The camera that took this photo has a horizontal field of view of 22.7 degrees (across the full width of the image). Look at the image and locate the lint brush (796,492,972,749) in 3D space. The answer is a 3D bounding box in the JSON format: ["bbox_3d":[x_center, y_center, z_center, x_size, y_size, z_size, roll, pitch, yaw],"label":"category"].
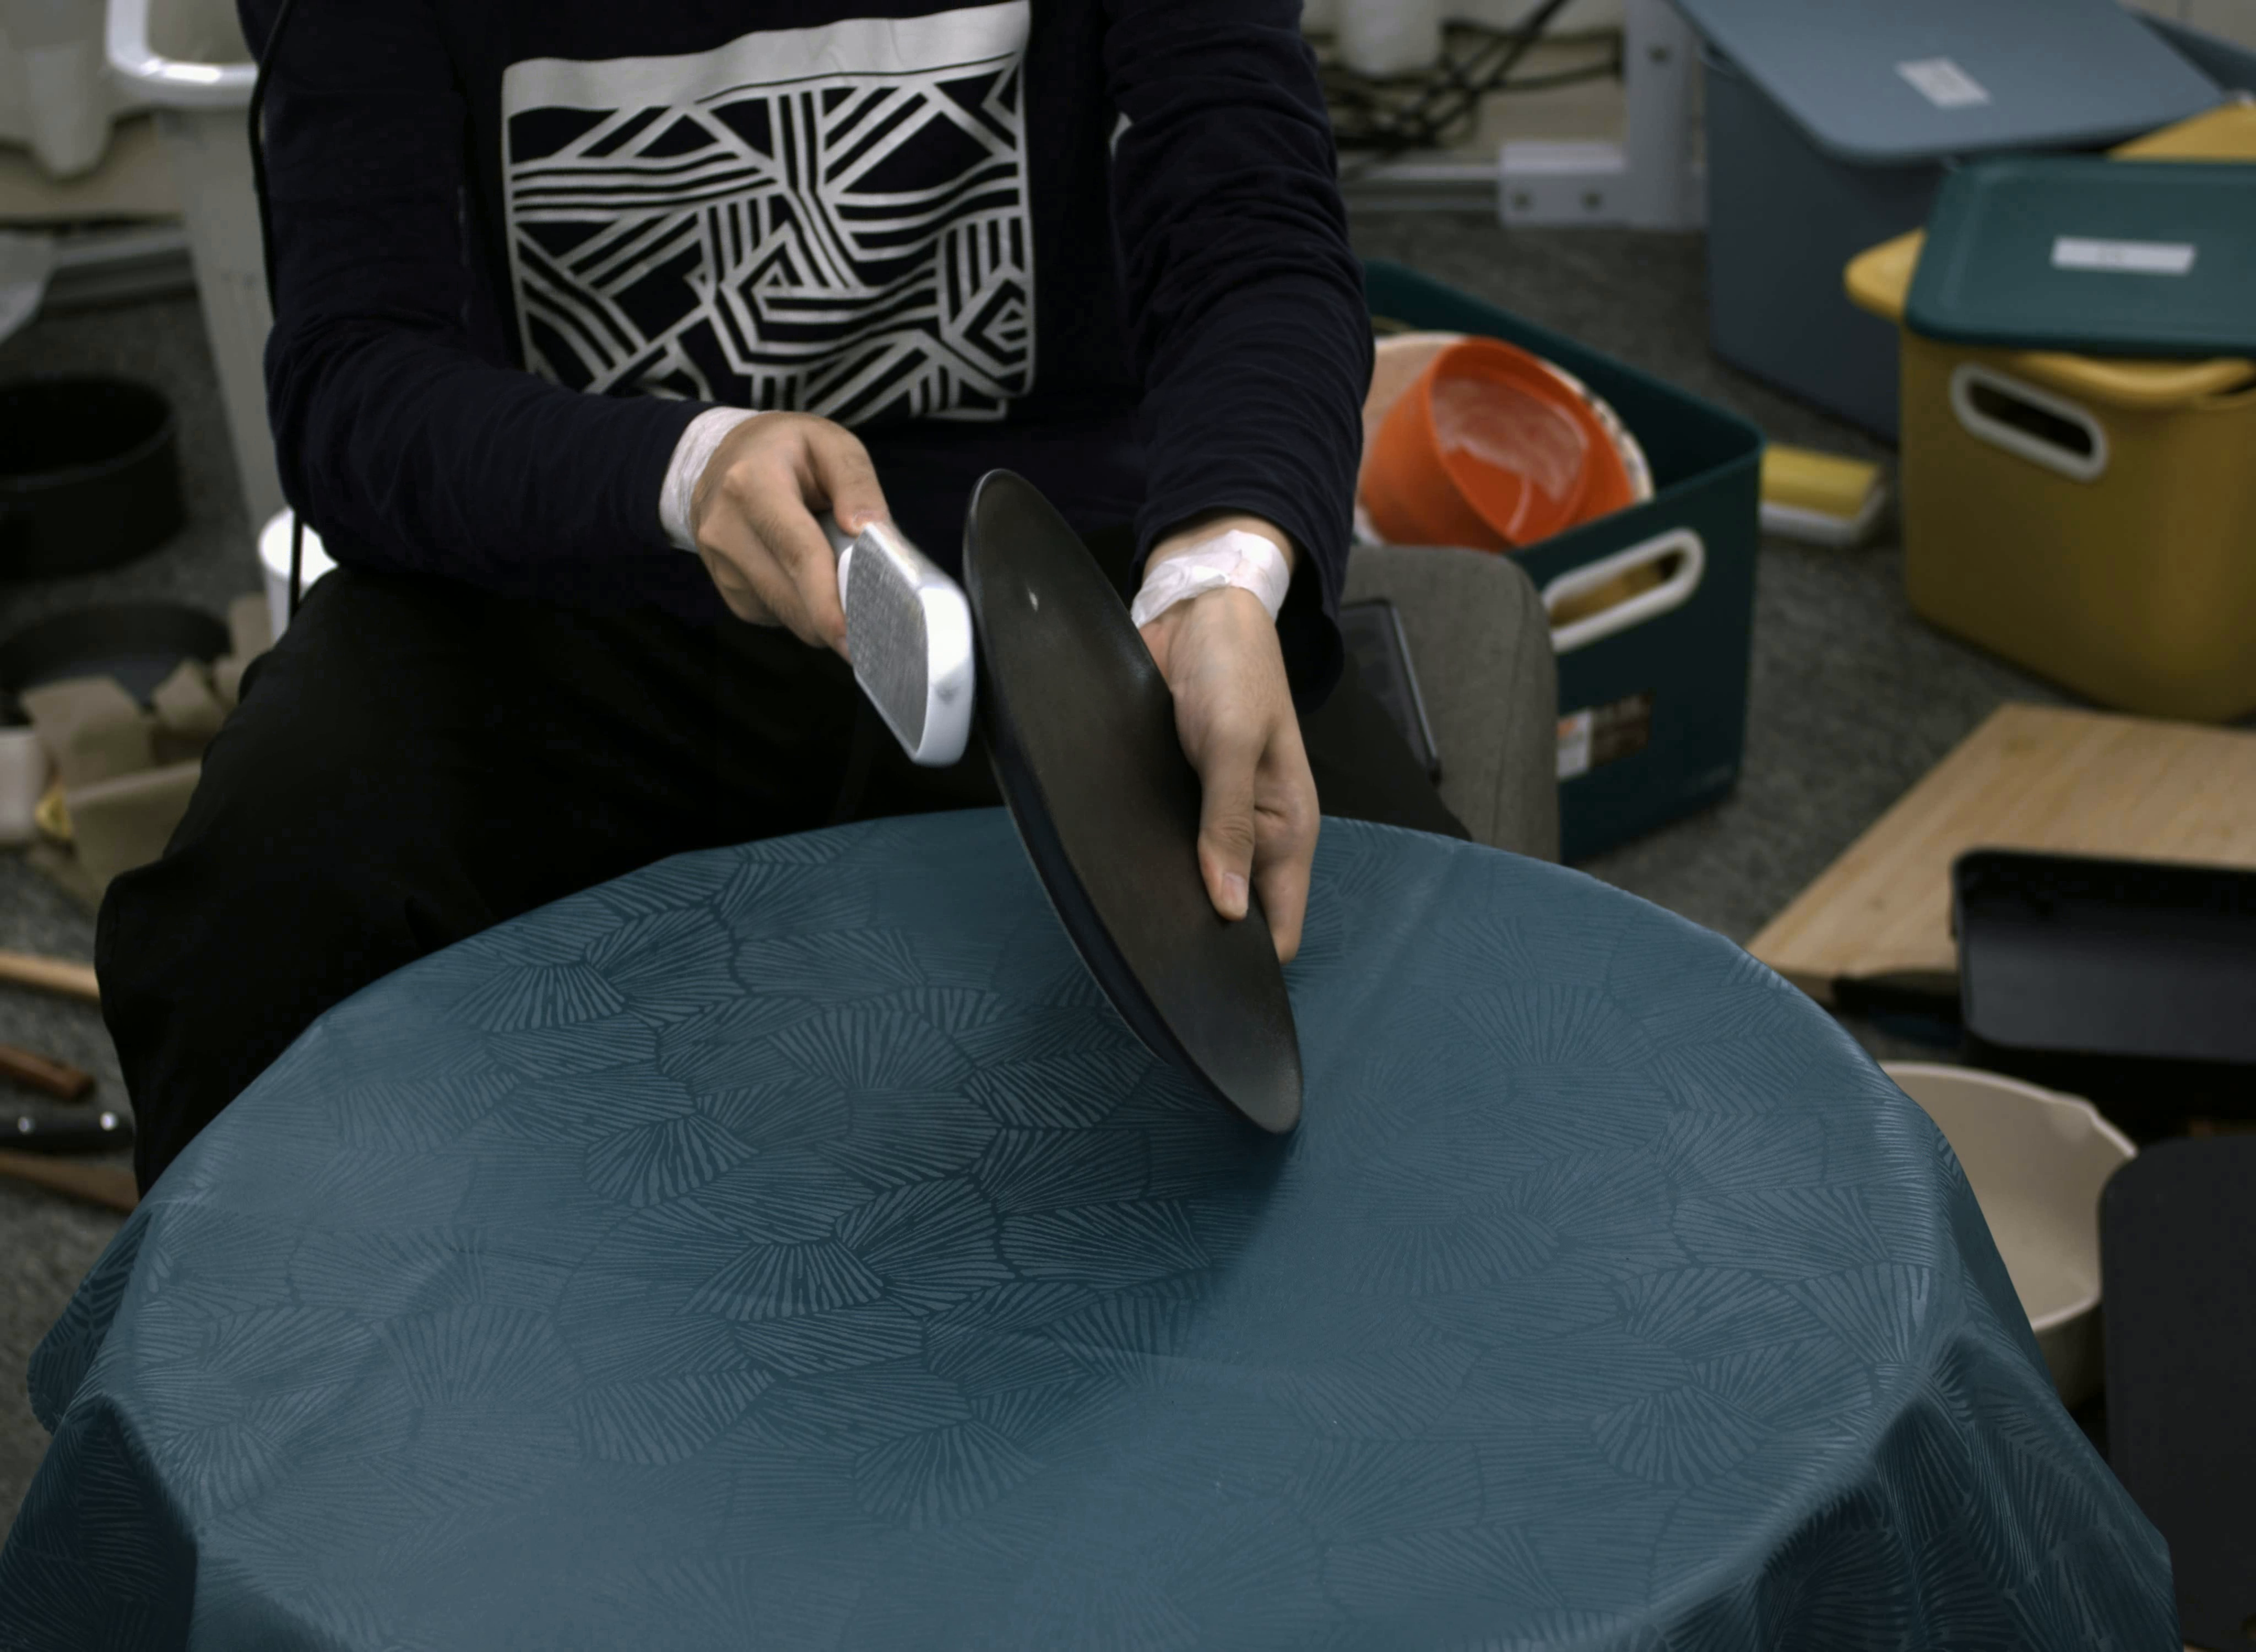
[{"bbox_3d":[-0.086,-0.081,1.934,0.021,0.060,0.310,-3,12,-10],"label":"lint brush"}]

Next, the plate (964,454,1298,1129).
[{"bbox_3d":[-0.005,-0.009,1.876,0.023,0.242,0.248,-23,25,12],"label":"plate"}]
